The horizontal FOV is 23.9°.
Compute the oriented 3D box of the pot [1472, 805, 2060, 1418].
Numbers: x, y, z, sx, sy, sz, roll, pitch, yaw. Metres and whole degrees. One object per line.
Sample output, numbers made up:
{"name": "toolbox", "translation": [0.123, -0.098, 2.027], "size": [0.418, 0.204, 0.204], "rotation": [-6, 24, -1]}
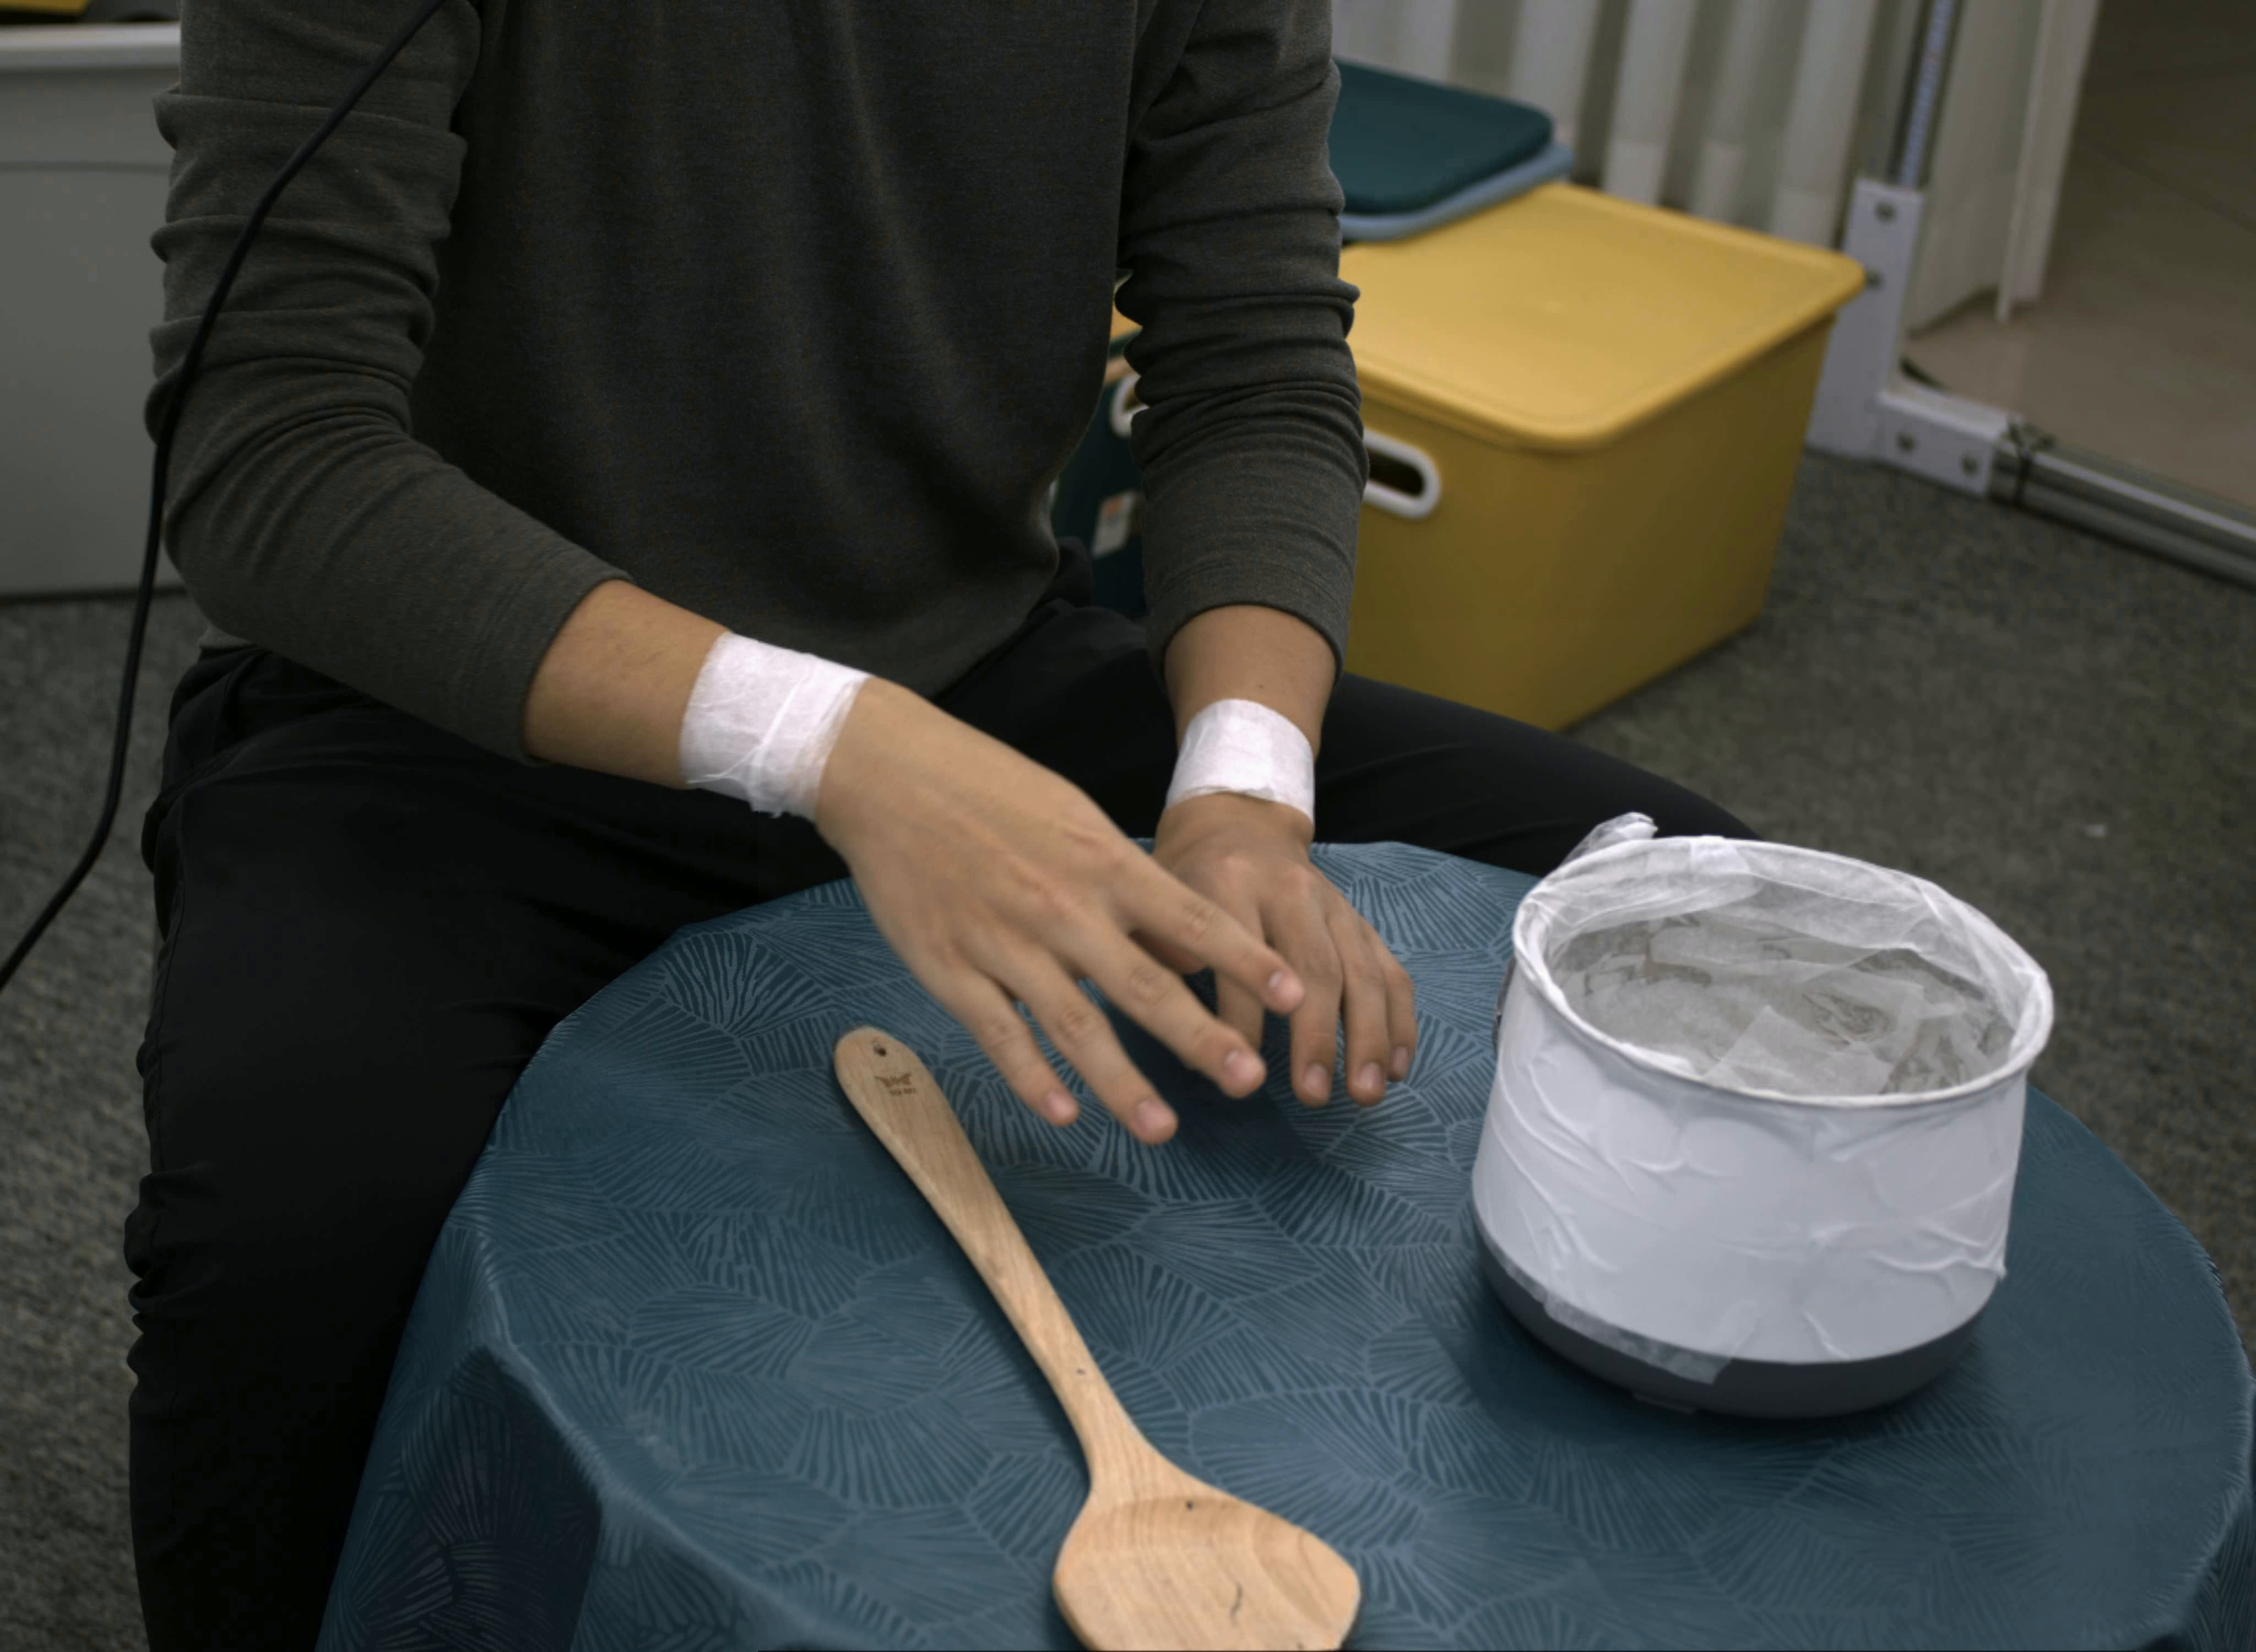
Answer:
{"name": "pot", "translation": [0.194, 0.087, 1.768], "size": [0.177, 0.136, 0.236], "rotation": [-6, 30, -25]}

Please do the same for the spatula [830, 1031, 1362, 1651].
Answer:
{"name": "spatula", "translation": [-0.034, 0.161, 1.706], "size": [0.095, 0.018, 0.394], "rotation": [-3, 28, -21]}
